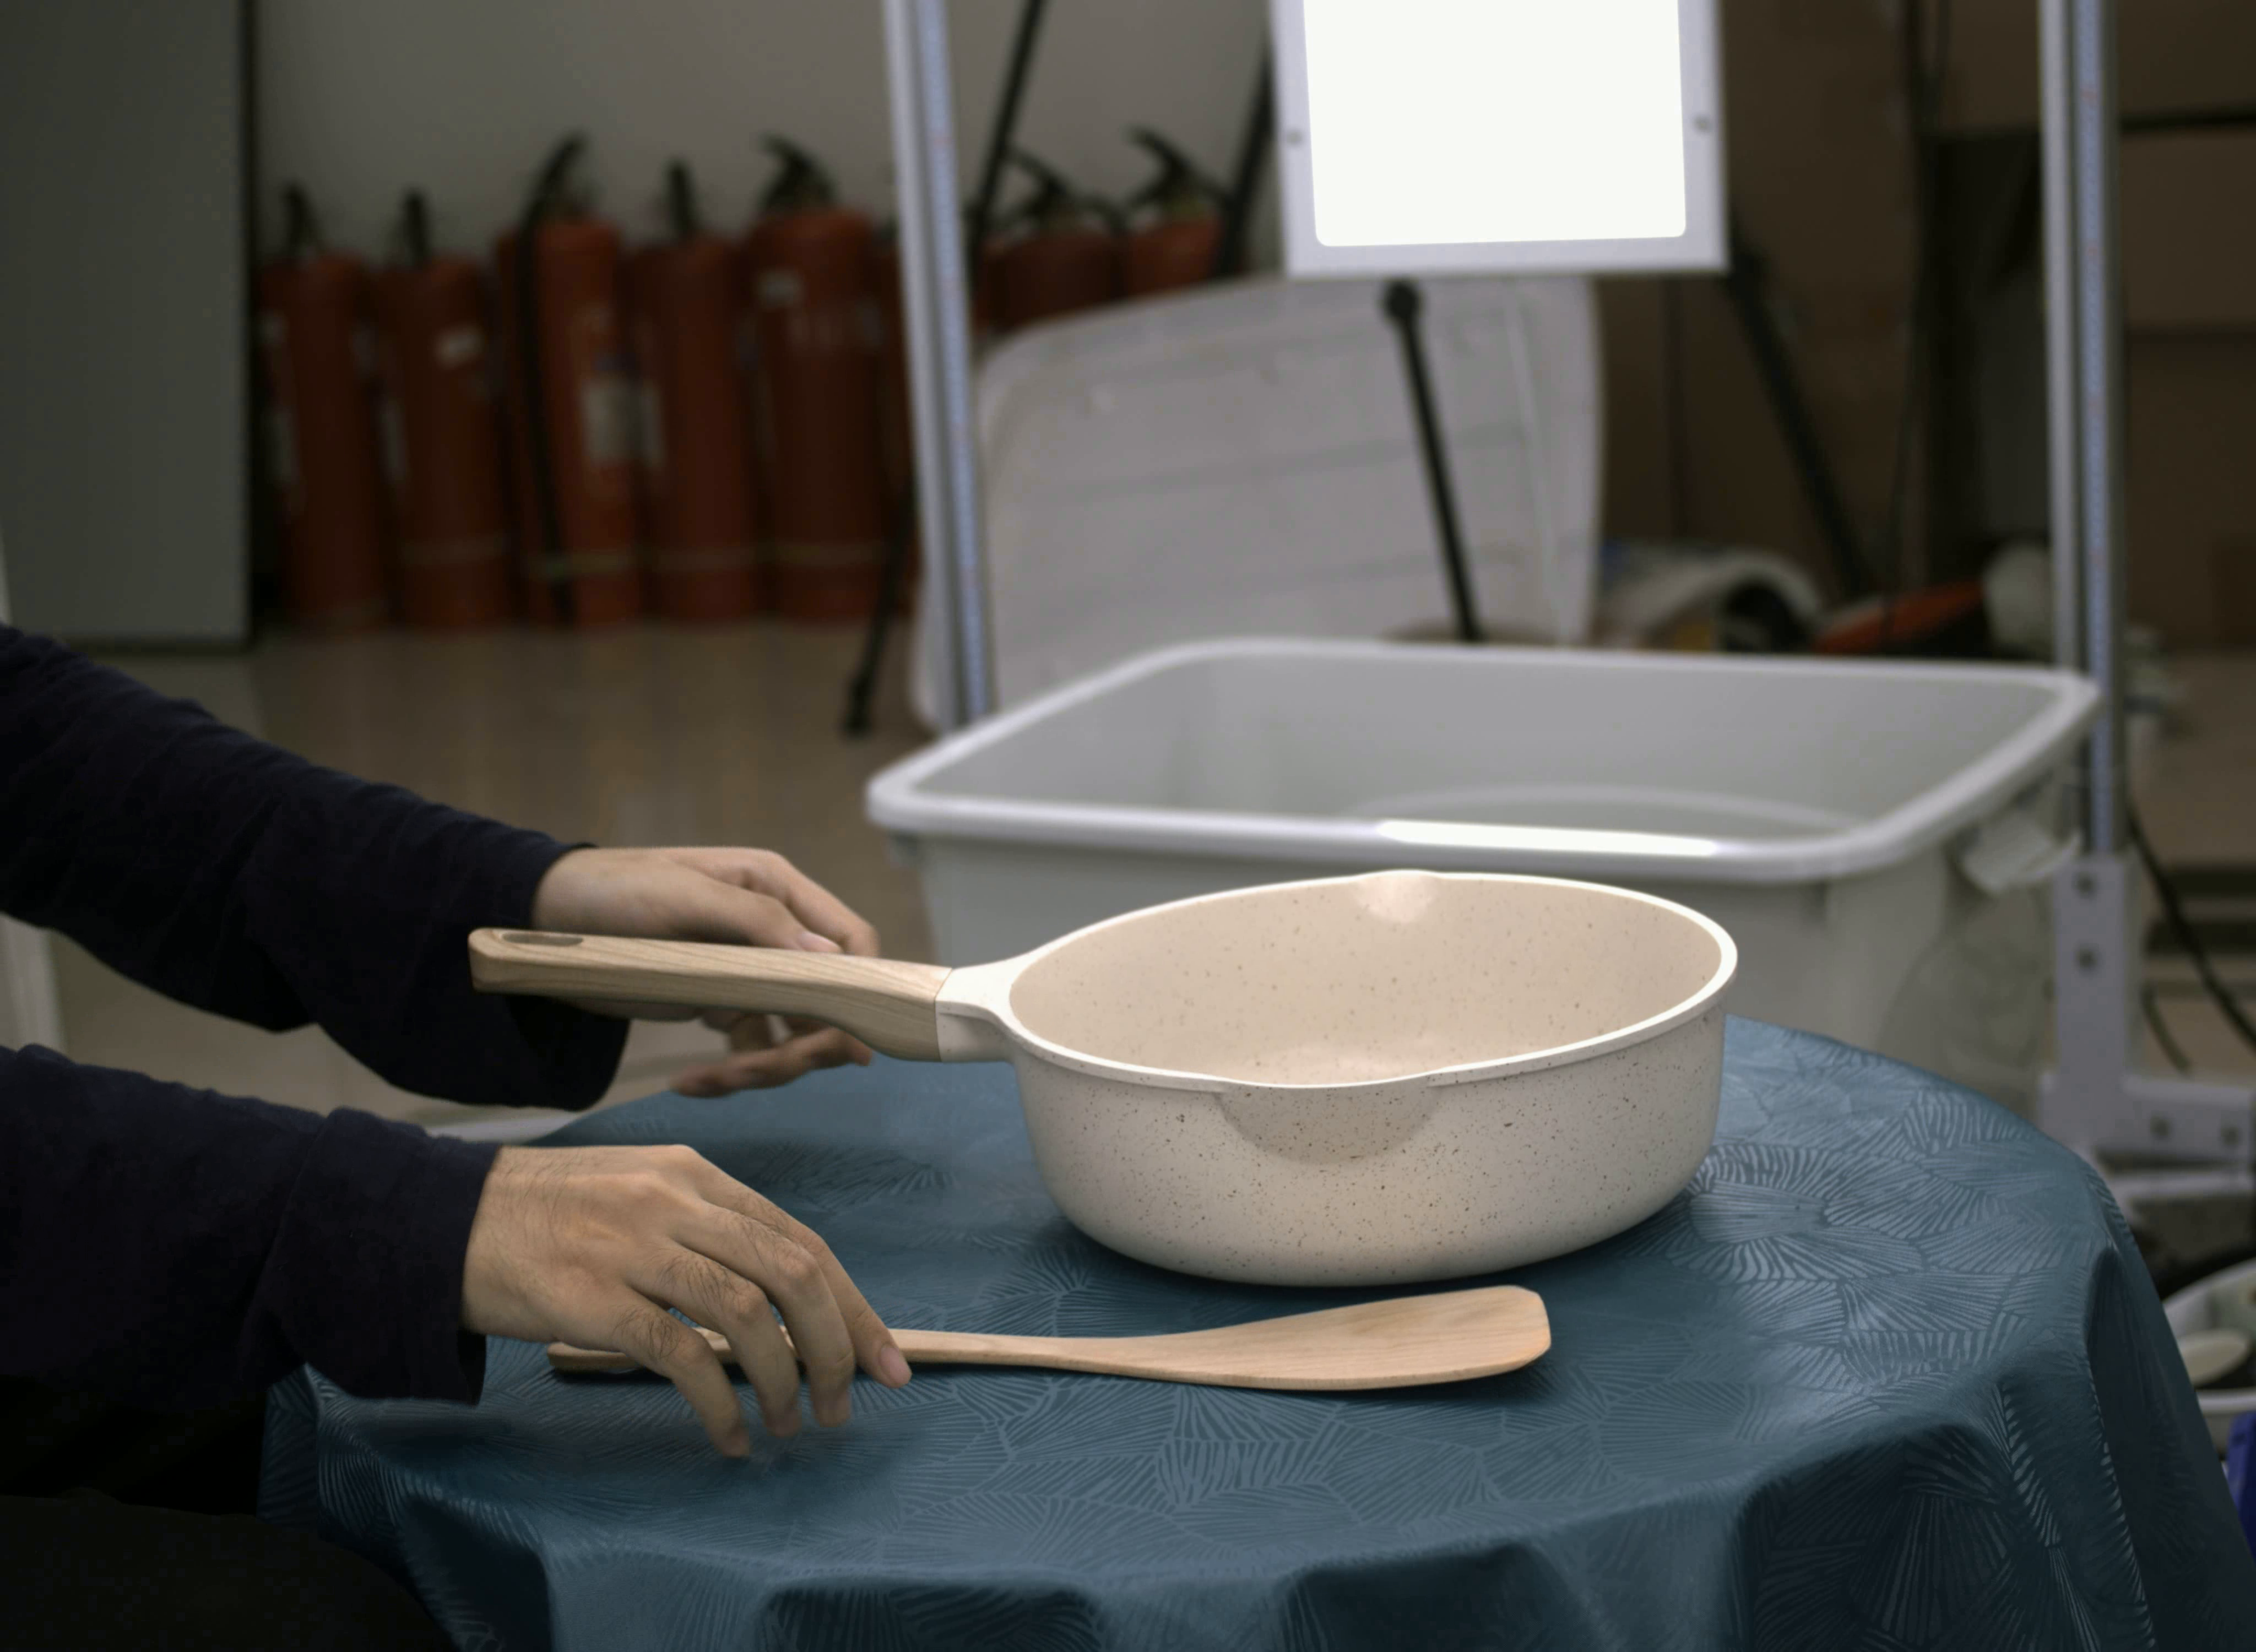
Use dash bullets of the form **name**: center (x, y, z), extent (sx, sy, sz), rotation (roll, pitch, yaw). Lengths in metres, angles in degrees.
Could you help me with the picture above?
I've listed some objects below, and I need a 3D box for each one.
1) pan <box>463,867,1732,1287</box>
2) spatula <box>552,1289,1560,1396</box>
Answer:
- **pan**: center (-0.010, 0.084, 1.877), extent (0.437, 0.102, 0.261), rotation (-3, 15, 10)
- **spatula**: center (-0.023, 0.162, 1.733), extent (0.330, 0.016, 0.079), rotation (-1, 14, 13)
